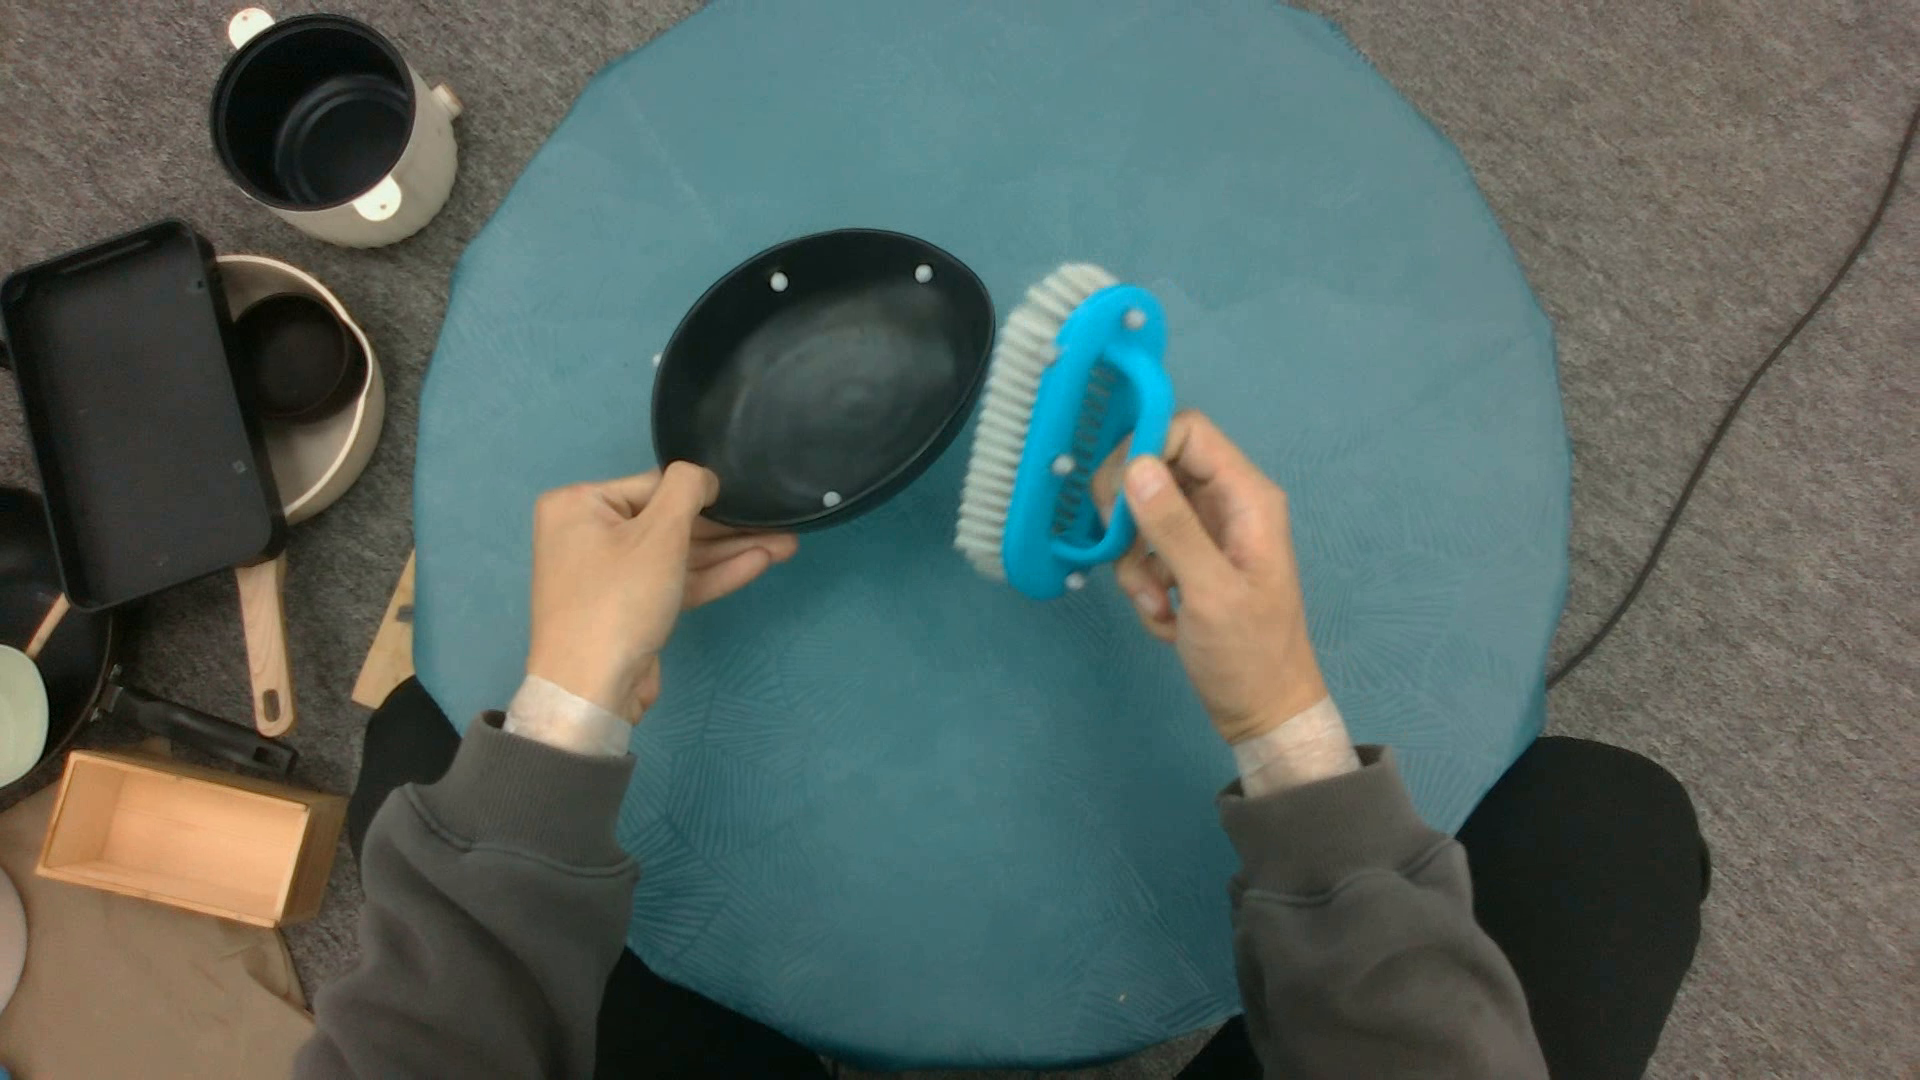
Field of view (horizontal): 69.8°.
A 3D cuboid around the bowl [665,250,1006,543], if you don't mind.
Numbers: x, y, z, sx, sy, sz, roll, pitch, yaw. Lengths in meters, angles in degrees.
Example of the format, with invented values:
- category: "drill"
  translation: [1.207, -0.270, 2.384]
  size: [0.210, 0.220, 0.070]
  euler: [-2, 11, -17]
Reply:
- category: "bowl"
  translation: [-0.055, -0.063, 0.659]
  size: [0.170, 0.066, 0.137]
  euler: [-34, 67, -1]

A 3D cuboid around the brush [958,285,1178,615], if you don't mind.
- category: "brush"
  translation: [0.056, -0.032, 0.584]
  size: [0.064, 0.084, 0.141]
  euler: [27, 113, 32]
